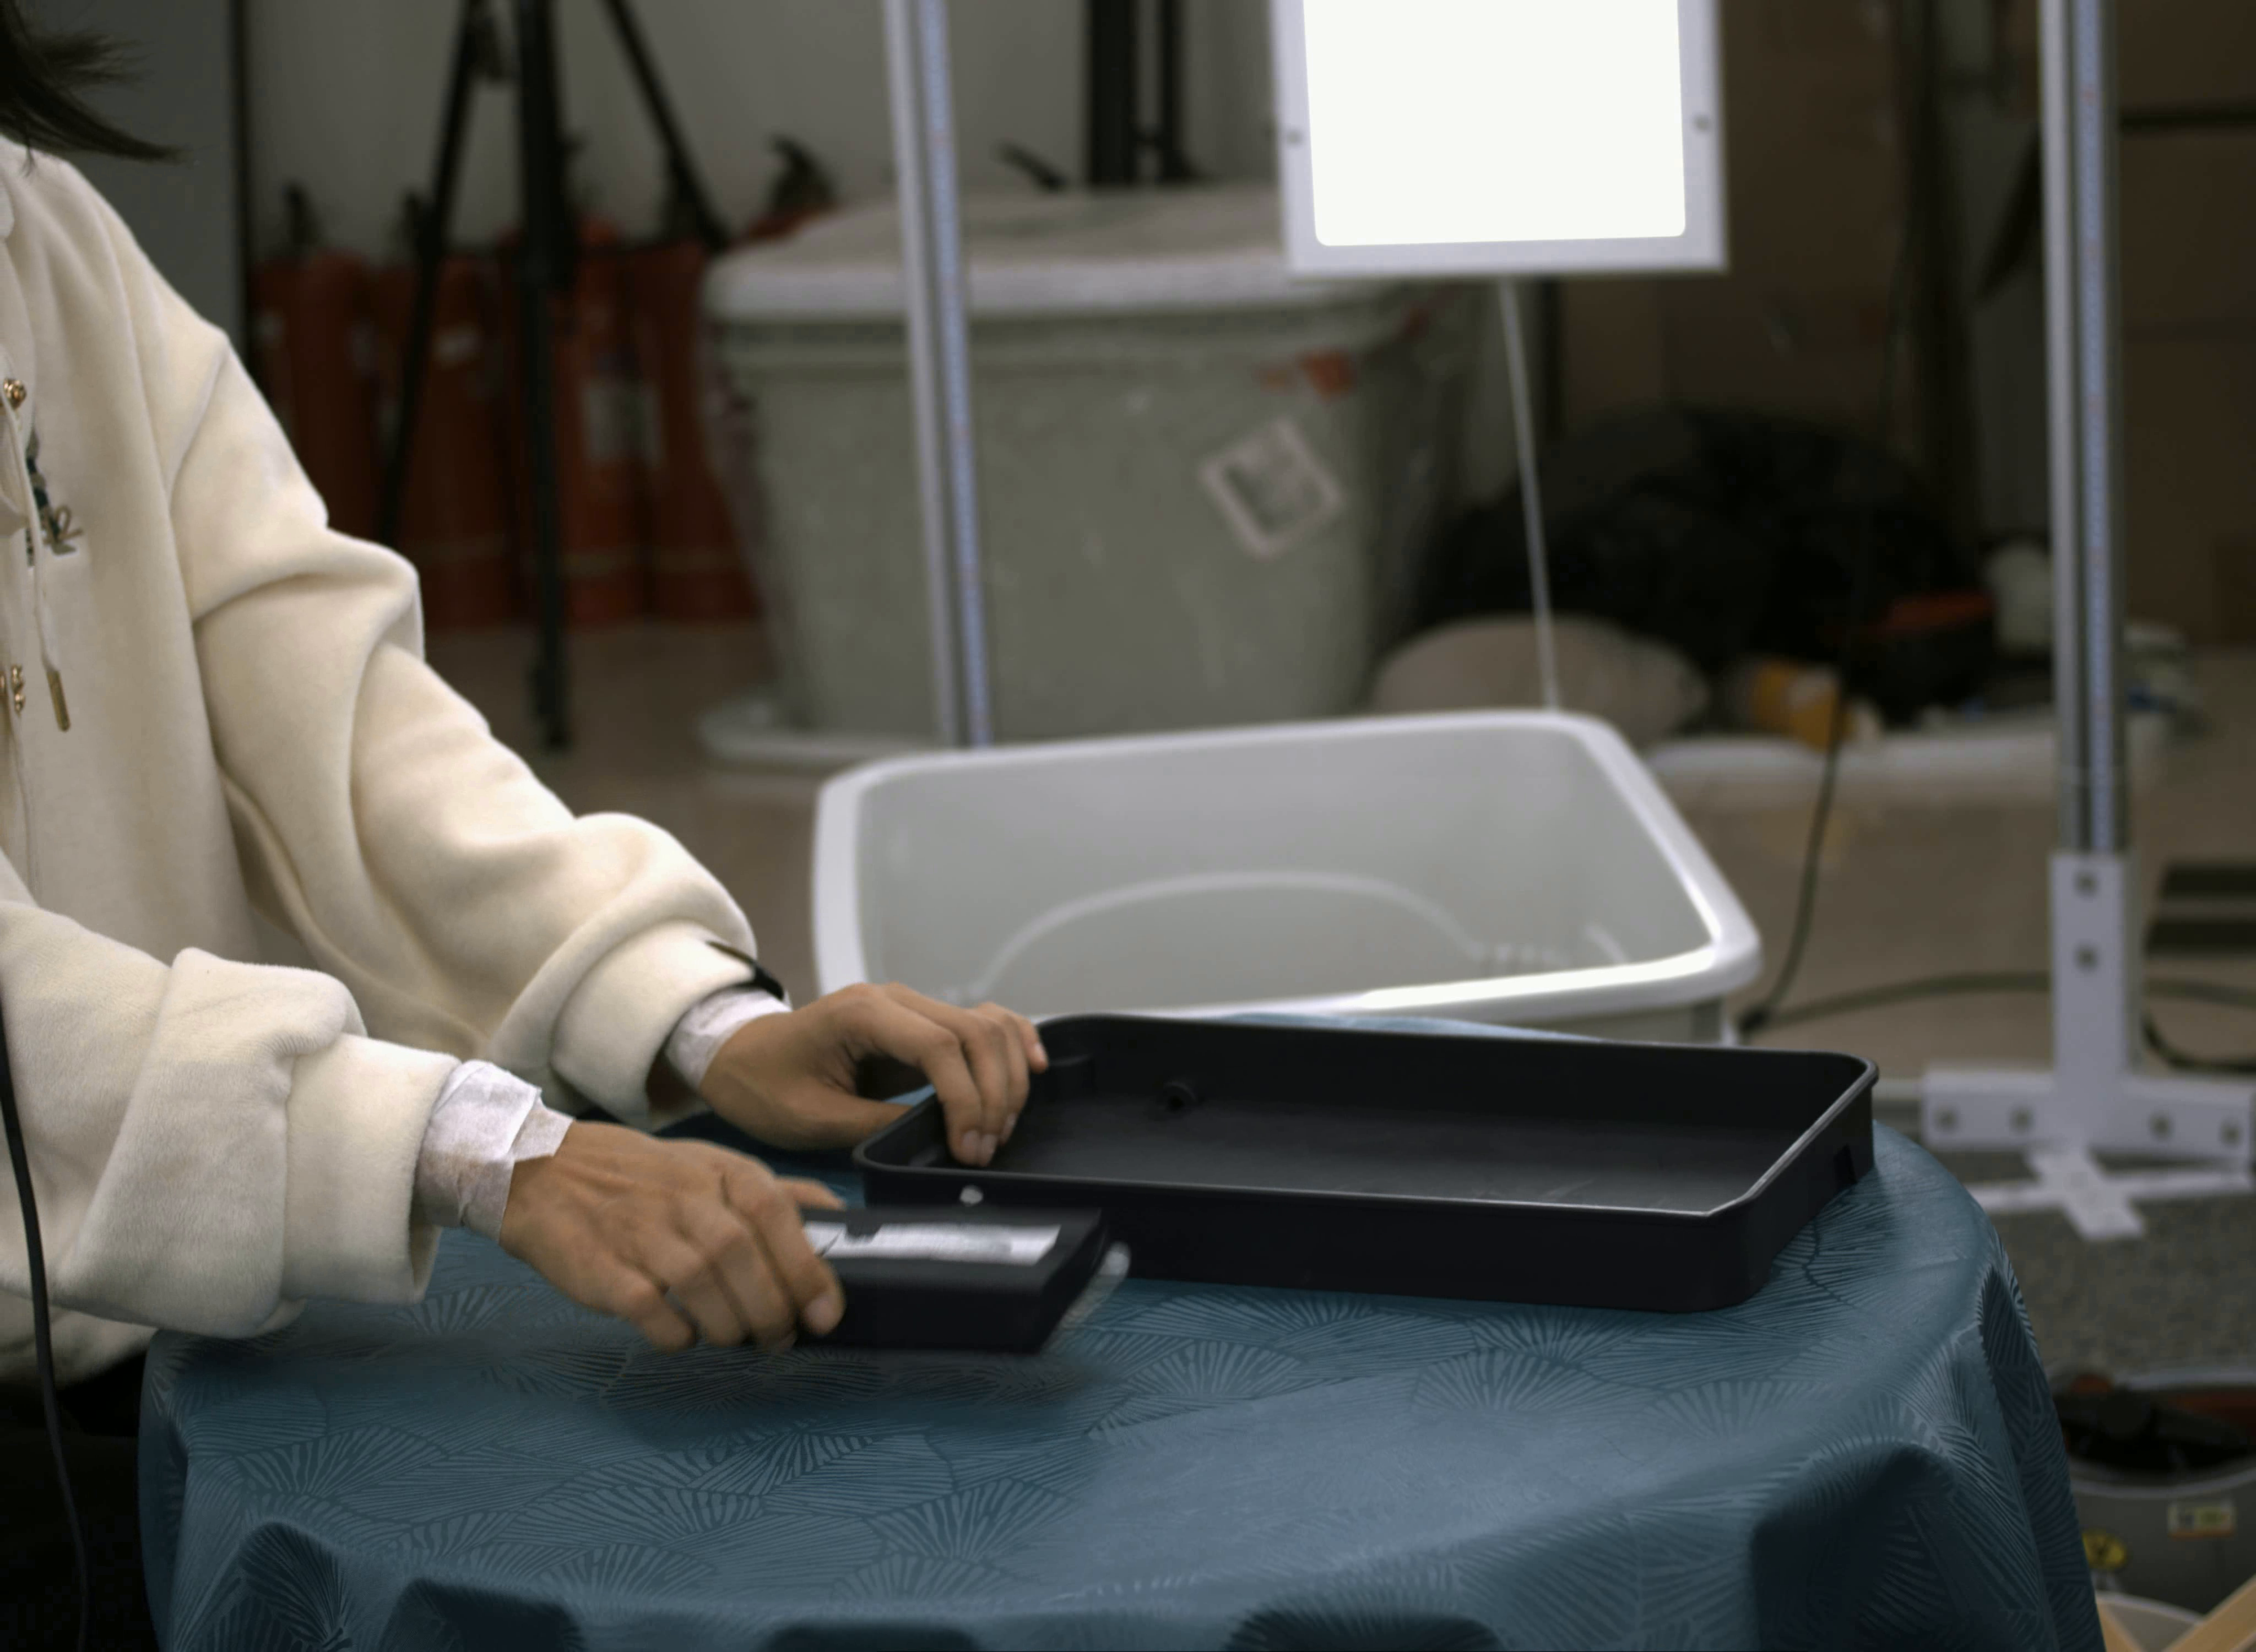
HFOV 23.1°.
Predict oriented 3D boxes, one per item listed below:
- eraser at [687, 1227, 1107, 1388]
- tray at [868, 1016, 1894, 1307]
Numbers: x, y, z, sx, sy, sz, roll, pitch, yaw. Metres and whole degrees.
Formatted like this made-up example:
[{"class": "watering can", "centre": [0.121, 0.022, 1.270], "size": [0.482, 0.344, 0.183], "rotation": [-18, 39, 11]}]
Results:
[{"class": "eraser", "centre": [-0.071, 0.149, 1.718], "size": [0.128, 0.030, 0.052], "rotation": [2, 19, 27]}, {"class": "tray", "centre": [0.087, 0.110, 1.854], "size": [0.323, 0.037, 0.180], "rotation": [1, 15, 25]}]
